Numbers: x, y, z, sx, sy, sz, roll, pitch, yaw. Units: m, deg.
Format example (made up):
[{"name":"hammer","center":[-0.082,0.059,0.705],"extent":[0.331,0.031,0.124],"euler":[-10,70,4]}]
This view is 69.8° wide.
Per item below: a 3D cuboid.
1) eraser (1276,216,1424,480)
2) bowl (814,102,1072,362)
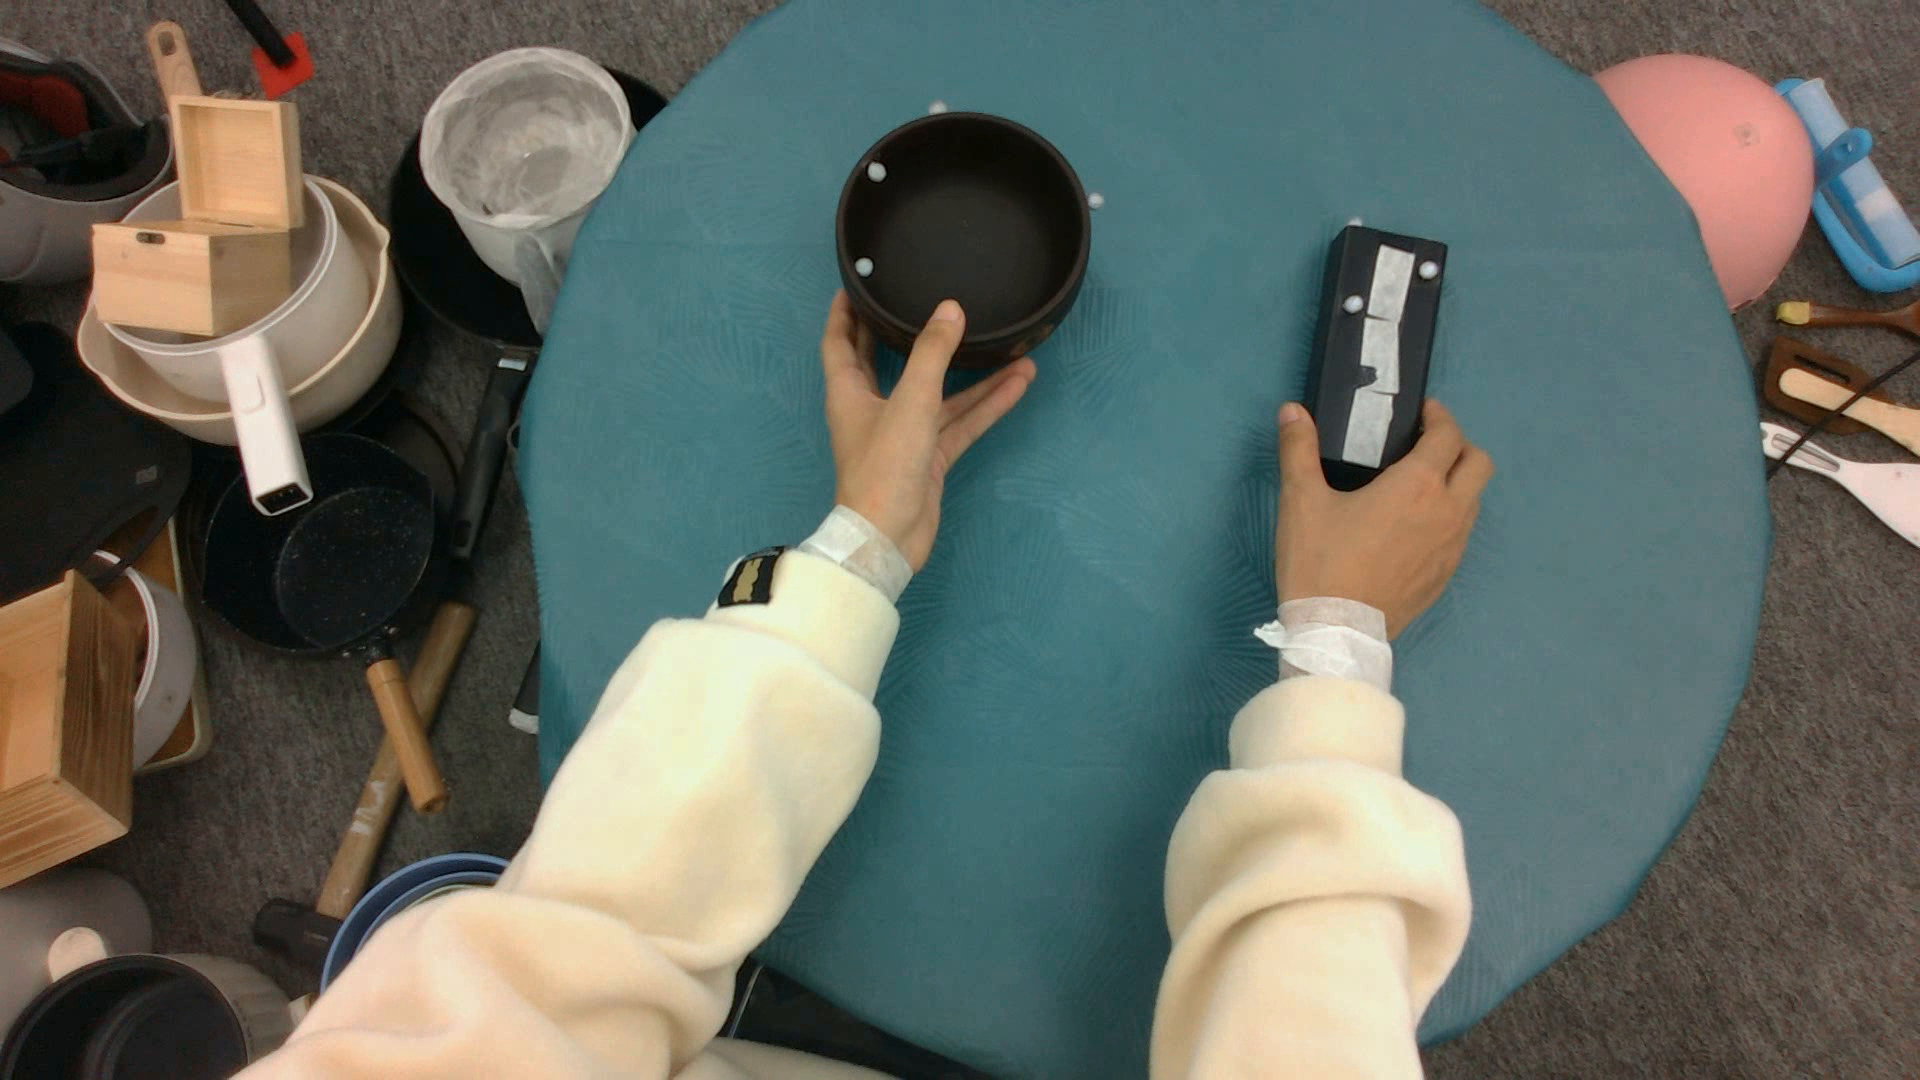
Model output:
[{"name":"eraser","center":[0.189,-0.094,0.668],"extent":[0.053,0.030,0.126],"euler":[11,78,2]},{"name":"bowl","center":[-0.008,-0.138,0.649],"extent":[0.118,0.069,0.118],"euler":[1,77,-2]}]
